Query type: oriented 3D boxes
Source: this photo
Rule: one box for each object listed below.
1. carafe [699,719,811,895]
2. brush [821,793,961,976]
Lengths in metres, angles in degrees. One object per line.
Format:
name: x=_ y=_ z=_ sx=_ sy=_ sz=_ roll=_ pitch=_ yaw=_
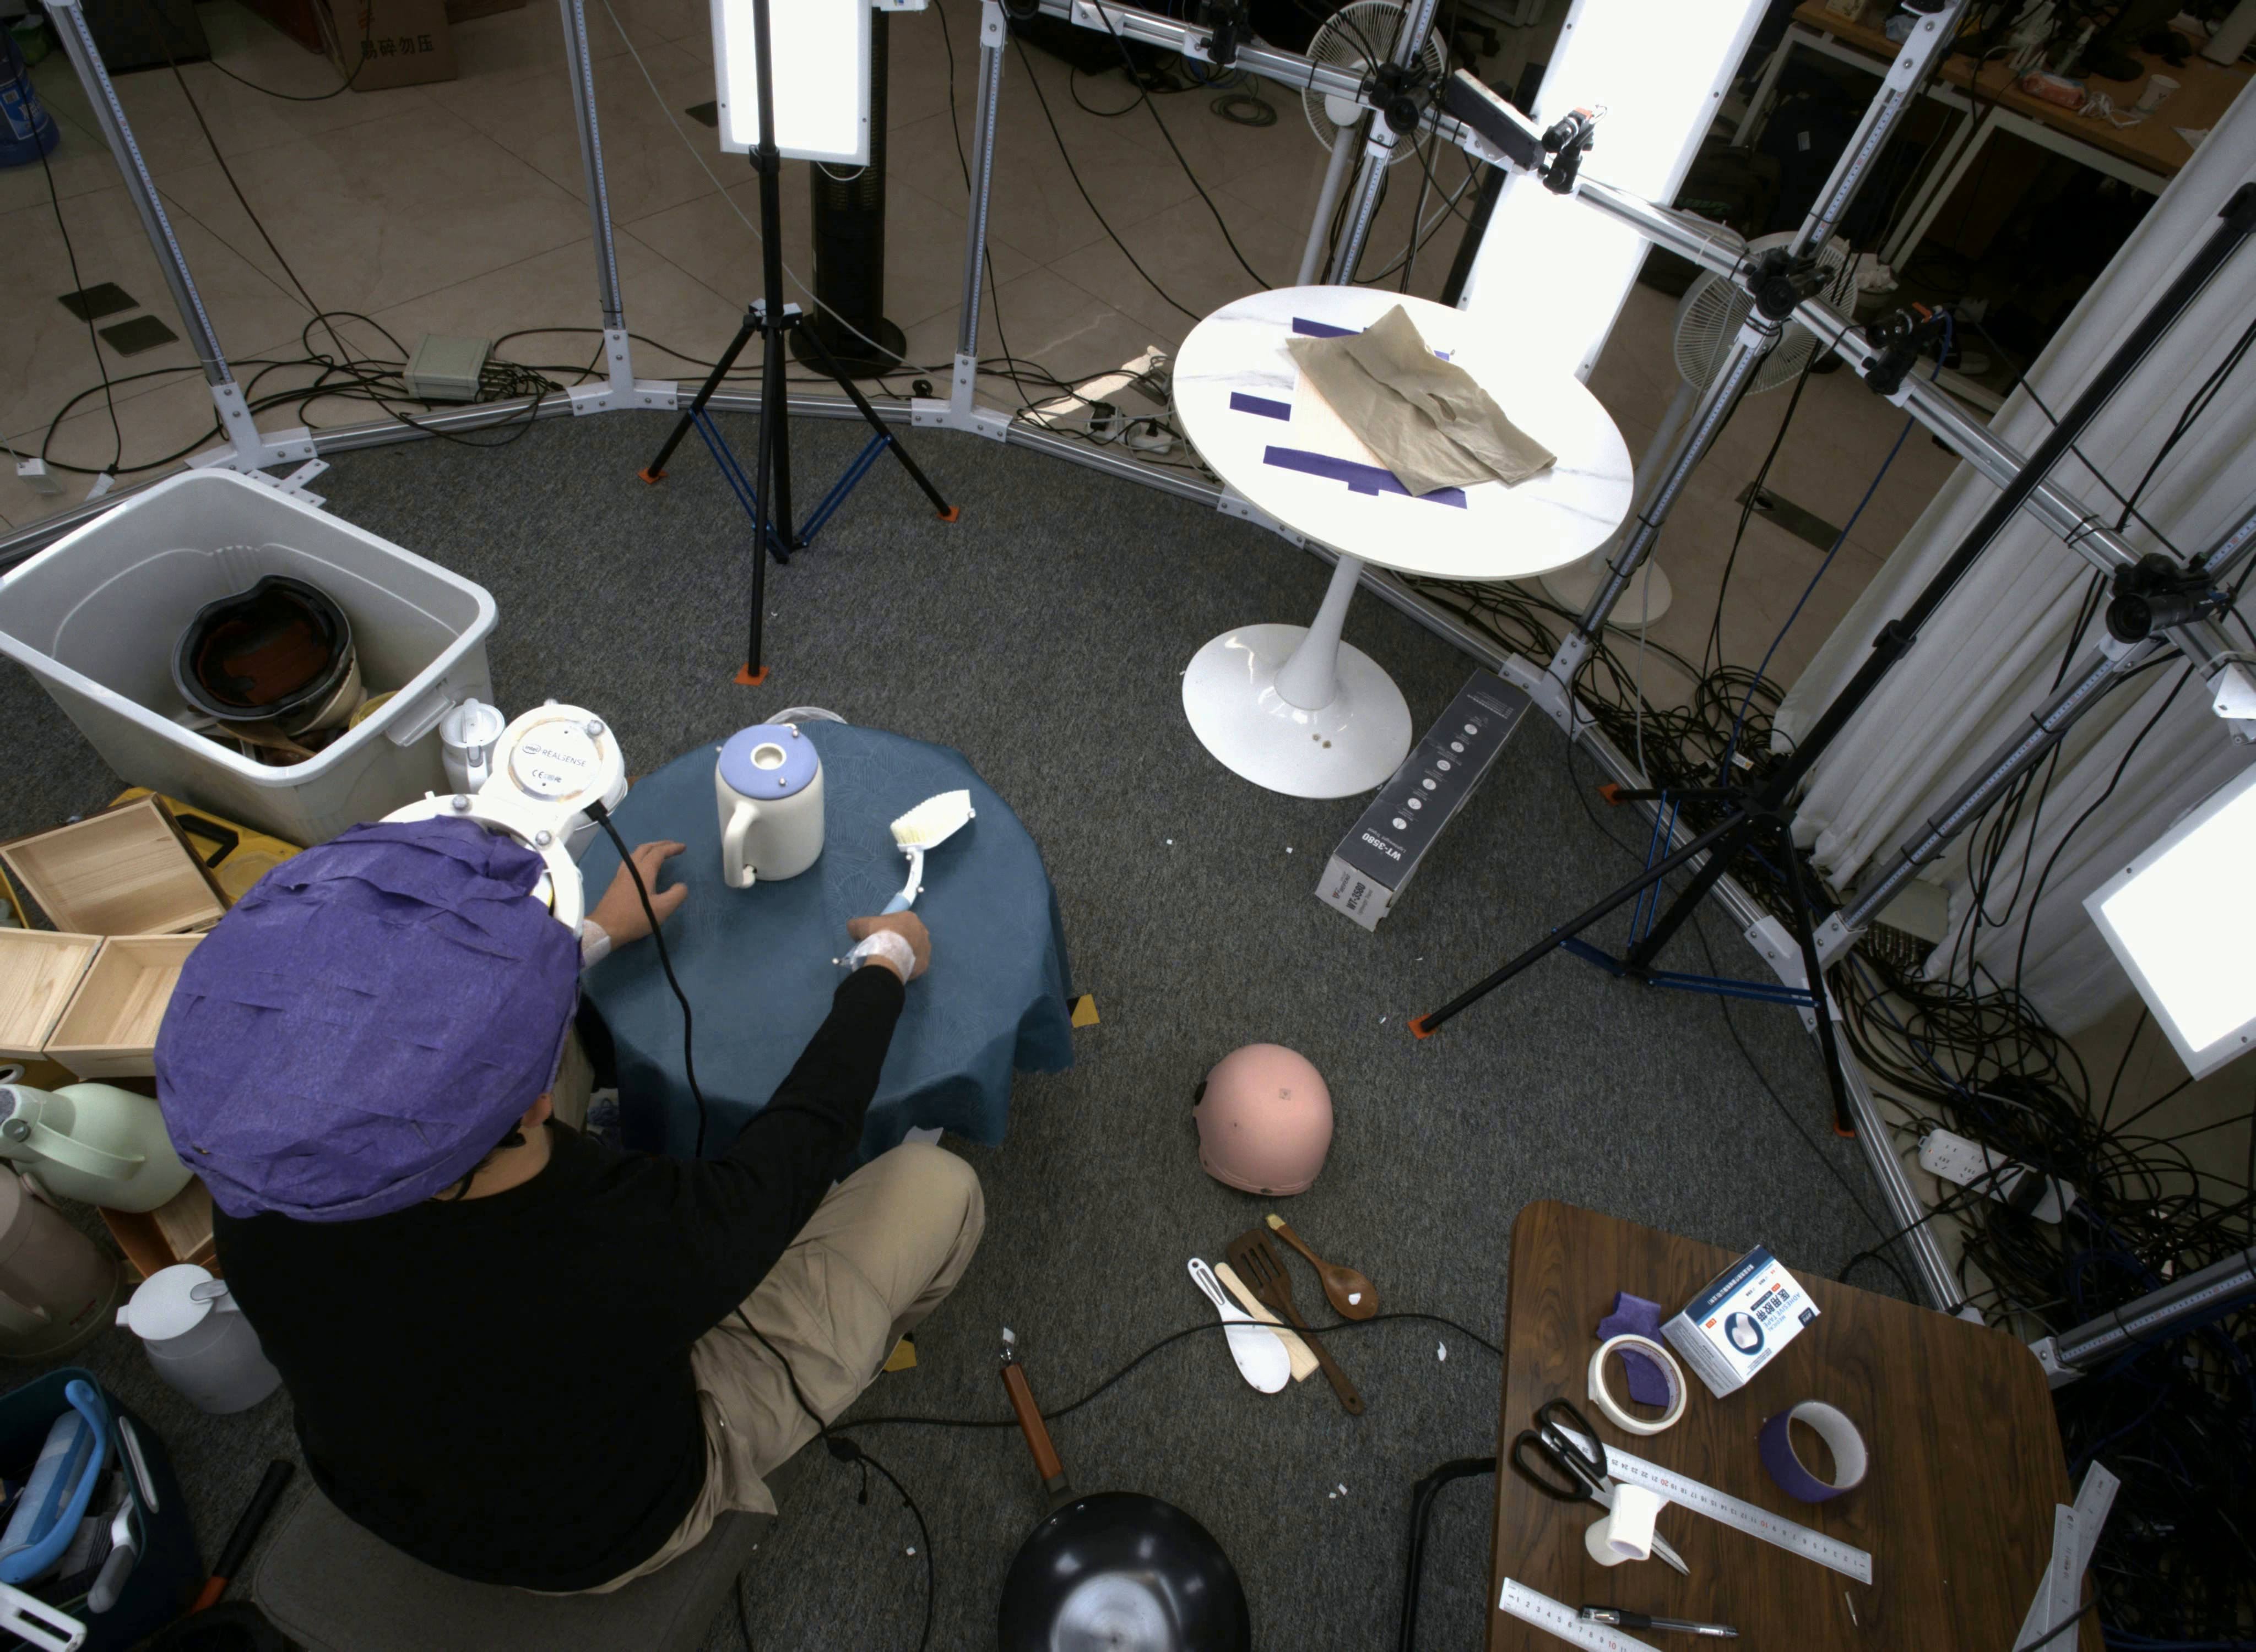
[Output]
carafe: x=-0.471 y=-0.012 z=1.604 sx=0.131 sy=0.186 sz=0.189 roll=15 pitch=52 yaw=0
brush: x=-0.308 y=0.052 z=1.648 sx=0.084 sy=0.084 sz=0.323 roll=34 pitch=48 yaw=-1
